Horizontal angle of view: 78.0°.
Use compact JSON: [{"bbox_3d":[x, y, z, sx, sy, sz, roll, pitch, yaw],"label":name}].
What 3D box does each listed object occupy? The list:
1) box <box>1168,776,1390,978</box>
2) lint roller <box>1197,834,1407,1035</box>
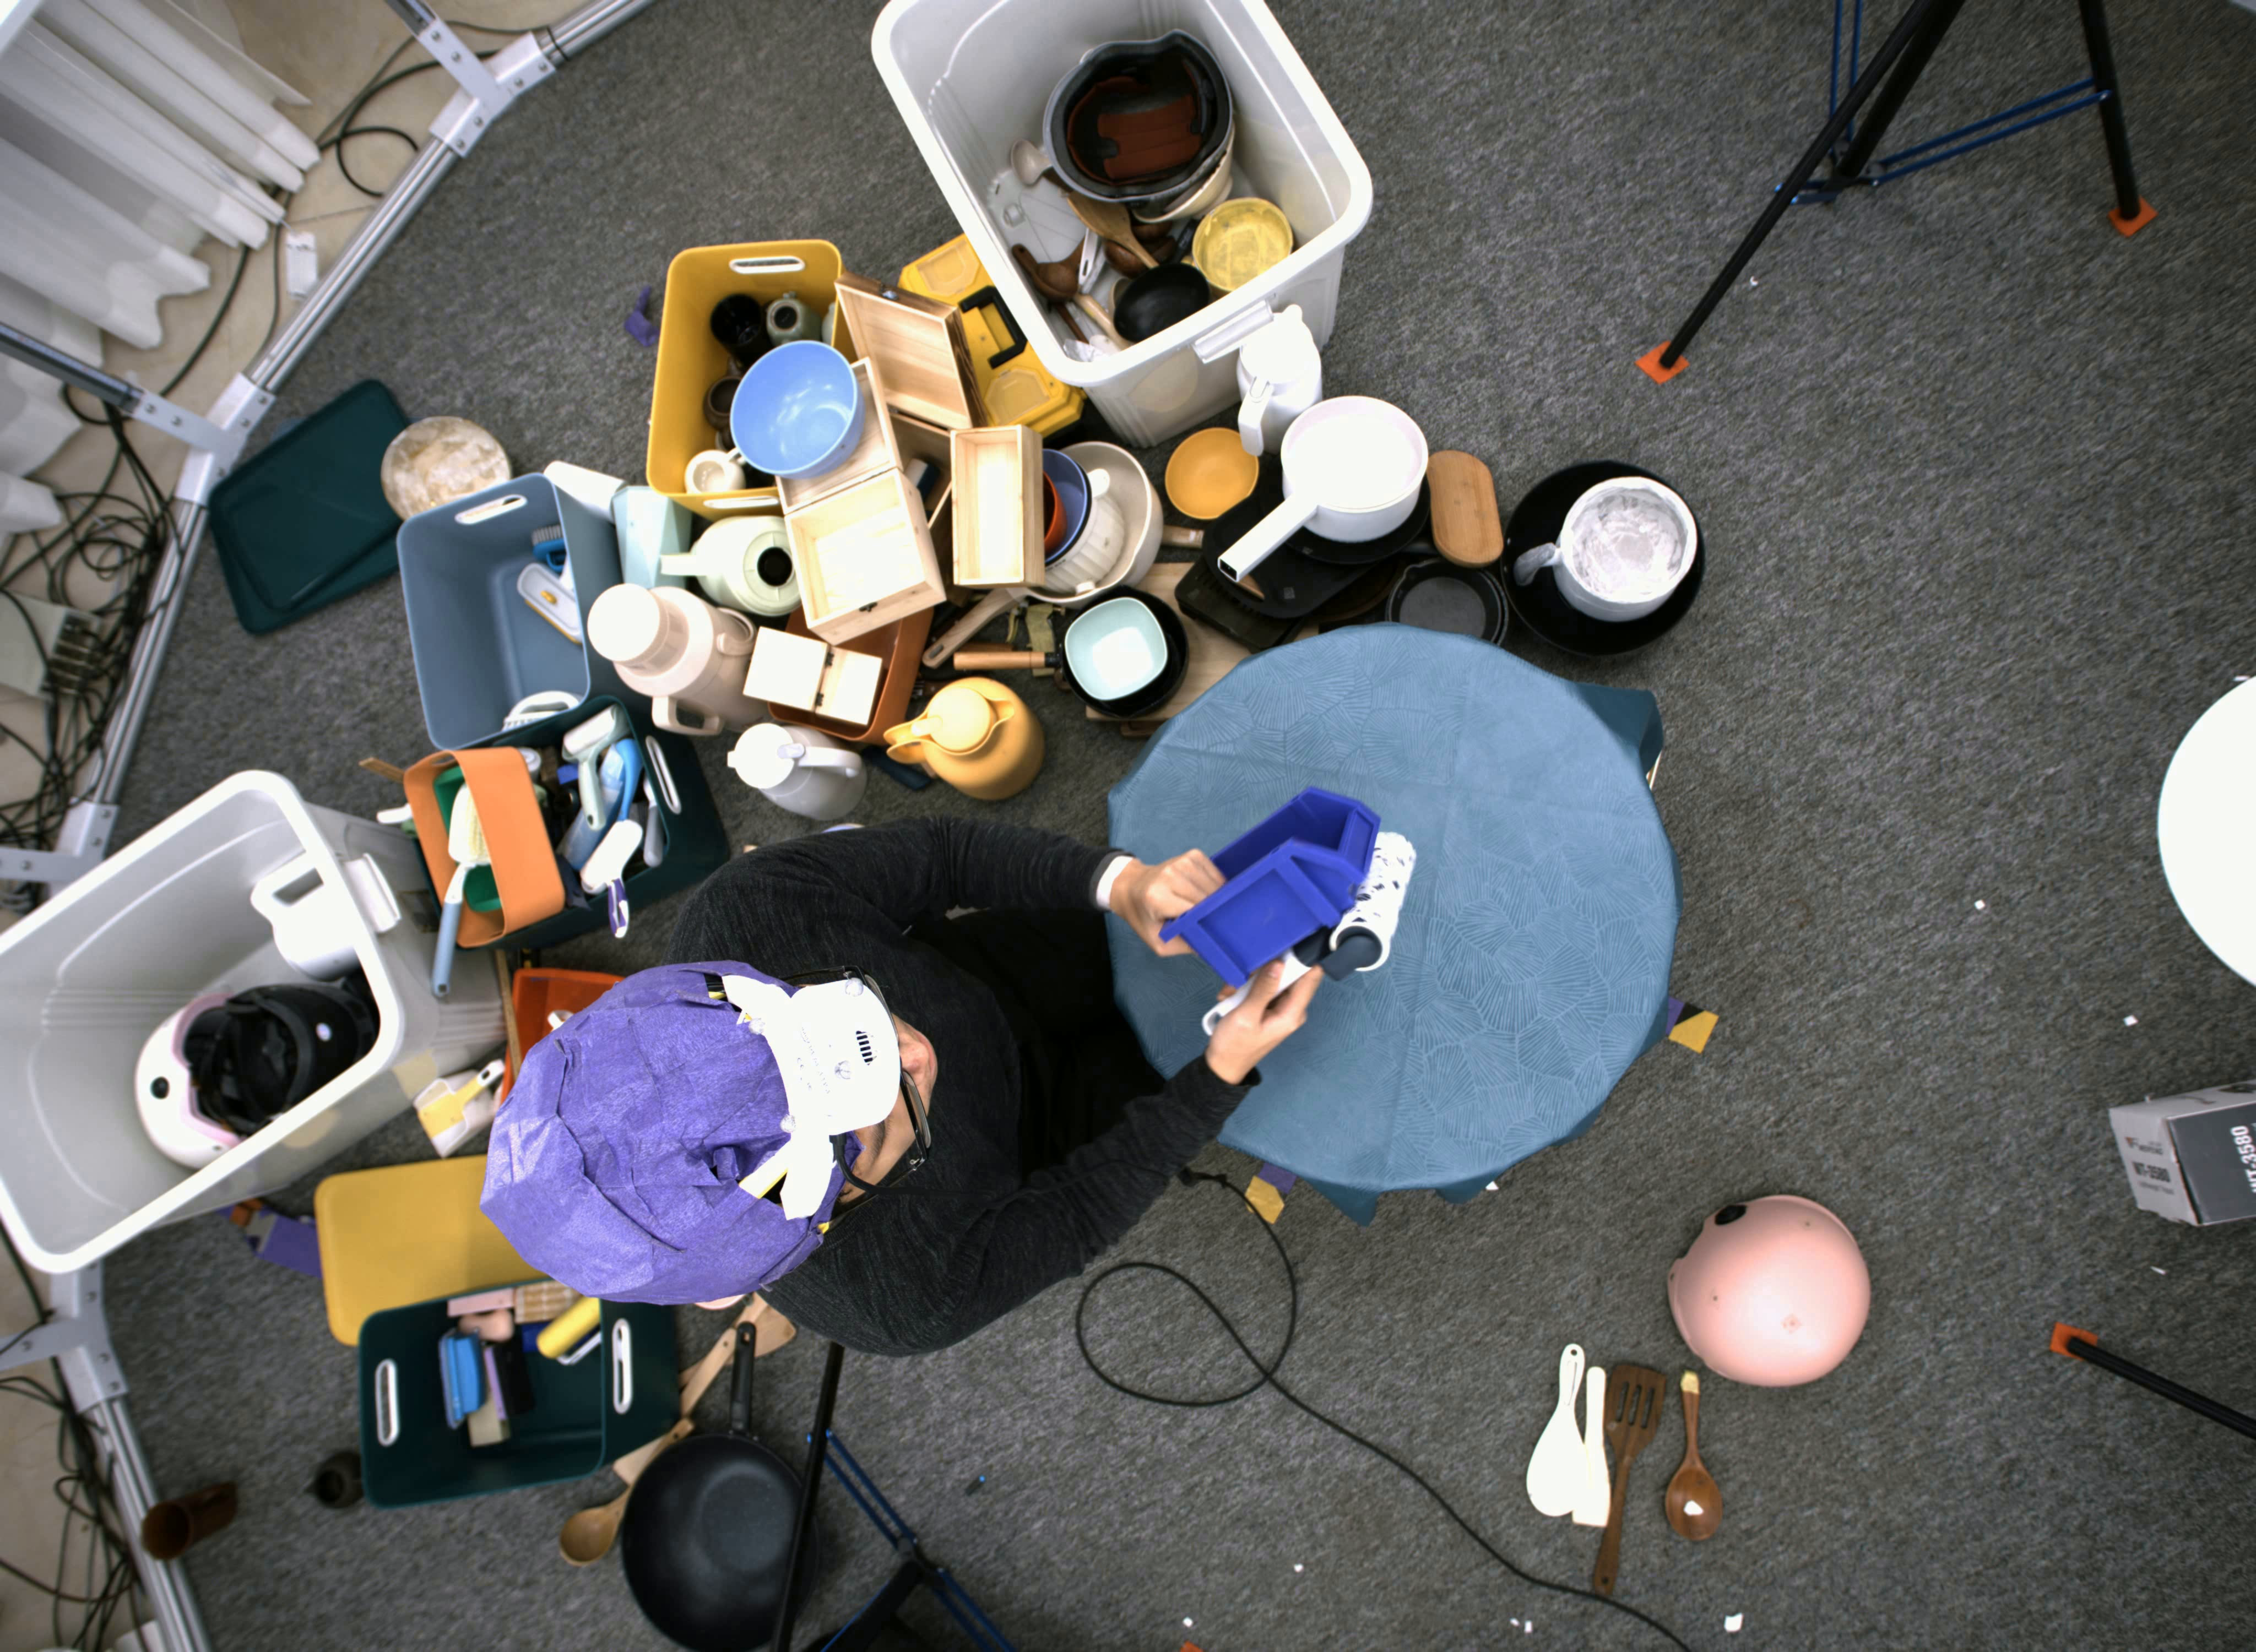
[{"bbox_3d":[0.138,0.039,1.197,0.082,0.121,0.183,46,121,-8],"label":"box"},{"bbox_3d":[0.152,0.123,1.258,0.050,0.172,0.253,40,126,-5],"label":"lint roller"}]
